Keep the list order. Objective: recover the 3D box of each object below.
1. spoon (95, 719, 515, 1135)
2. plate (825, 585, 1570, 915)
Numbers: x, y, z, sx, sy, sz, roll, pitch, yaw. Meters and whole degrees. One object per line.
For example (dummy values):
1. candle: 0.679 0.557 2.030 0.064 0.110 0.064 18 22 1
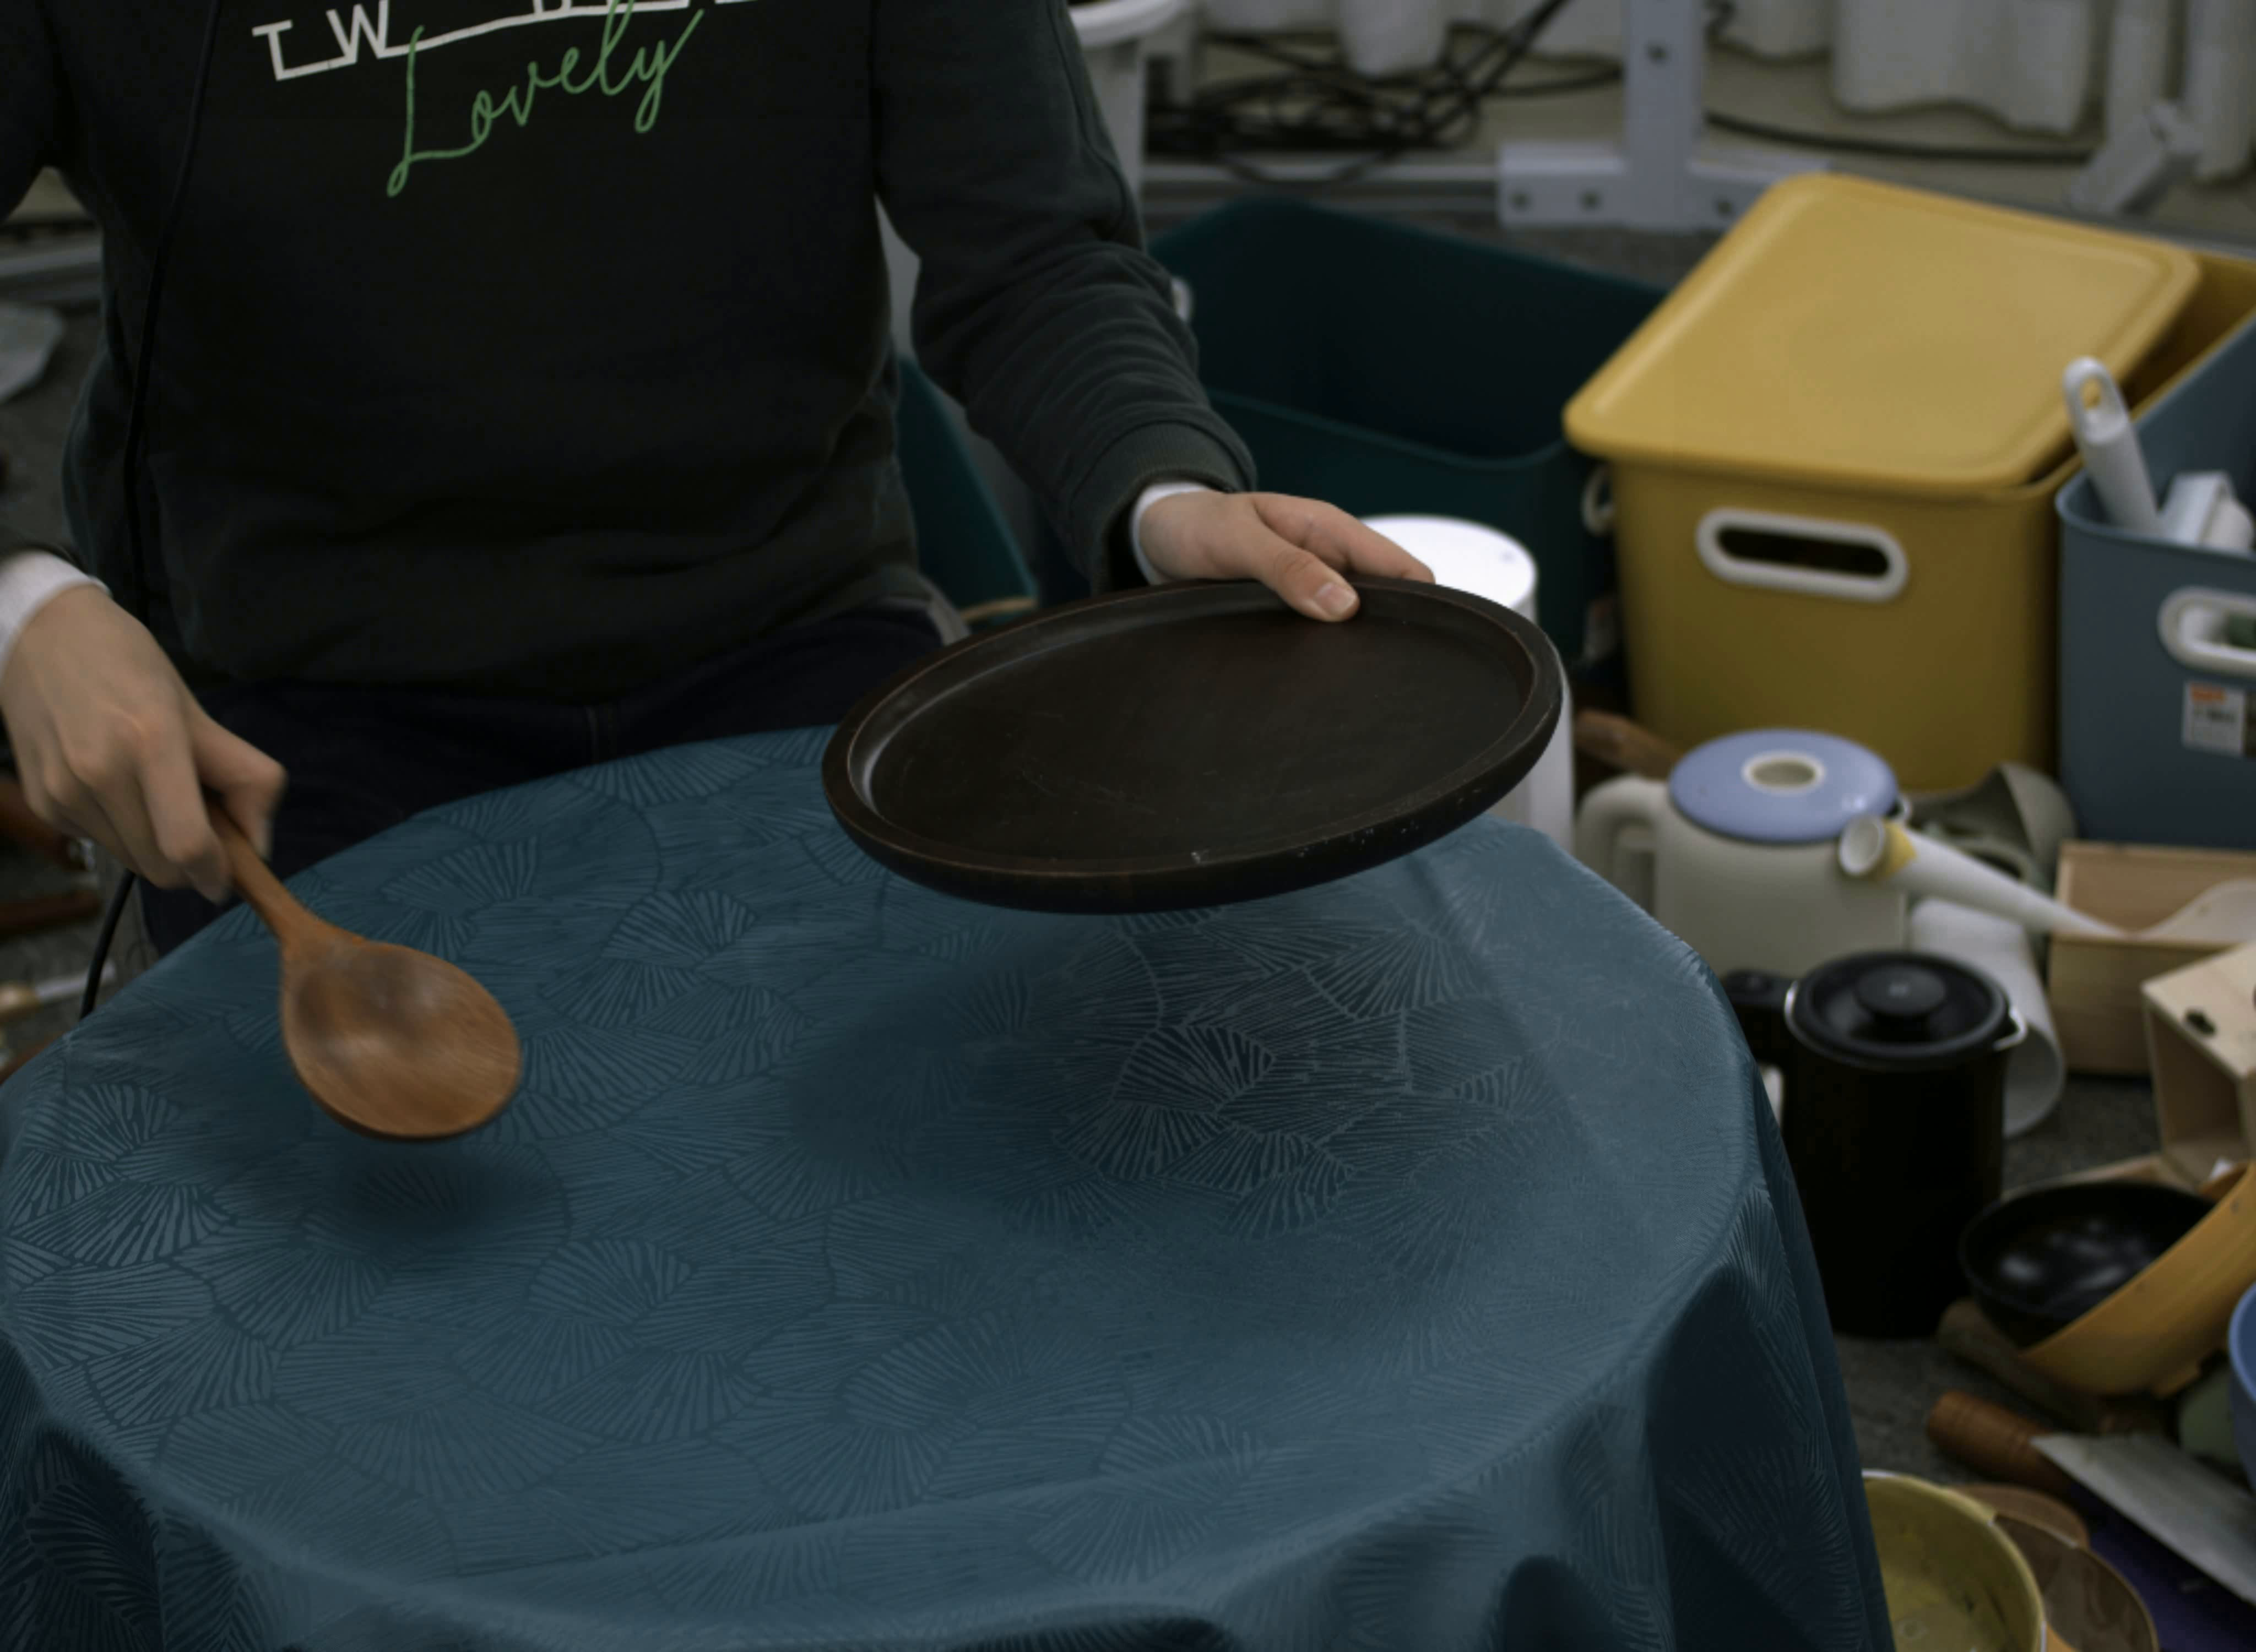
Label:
1. spoon: -0.284 0.034 1.899 0.076 0.017 0.217 -25 55 -31
2. plate: 0.024 -0.028 1.893 0.253 0.029 0.258 -6 23 3
